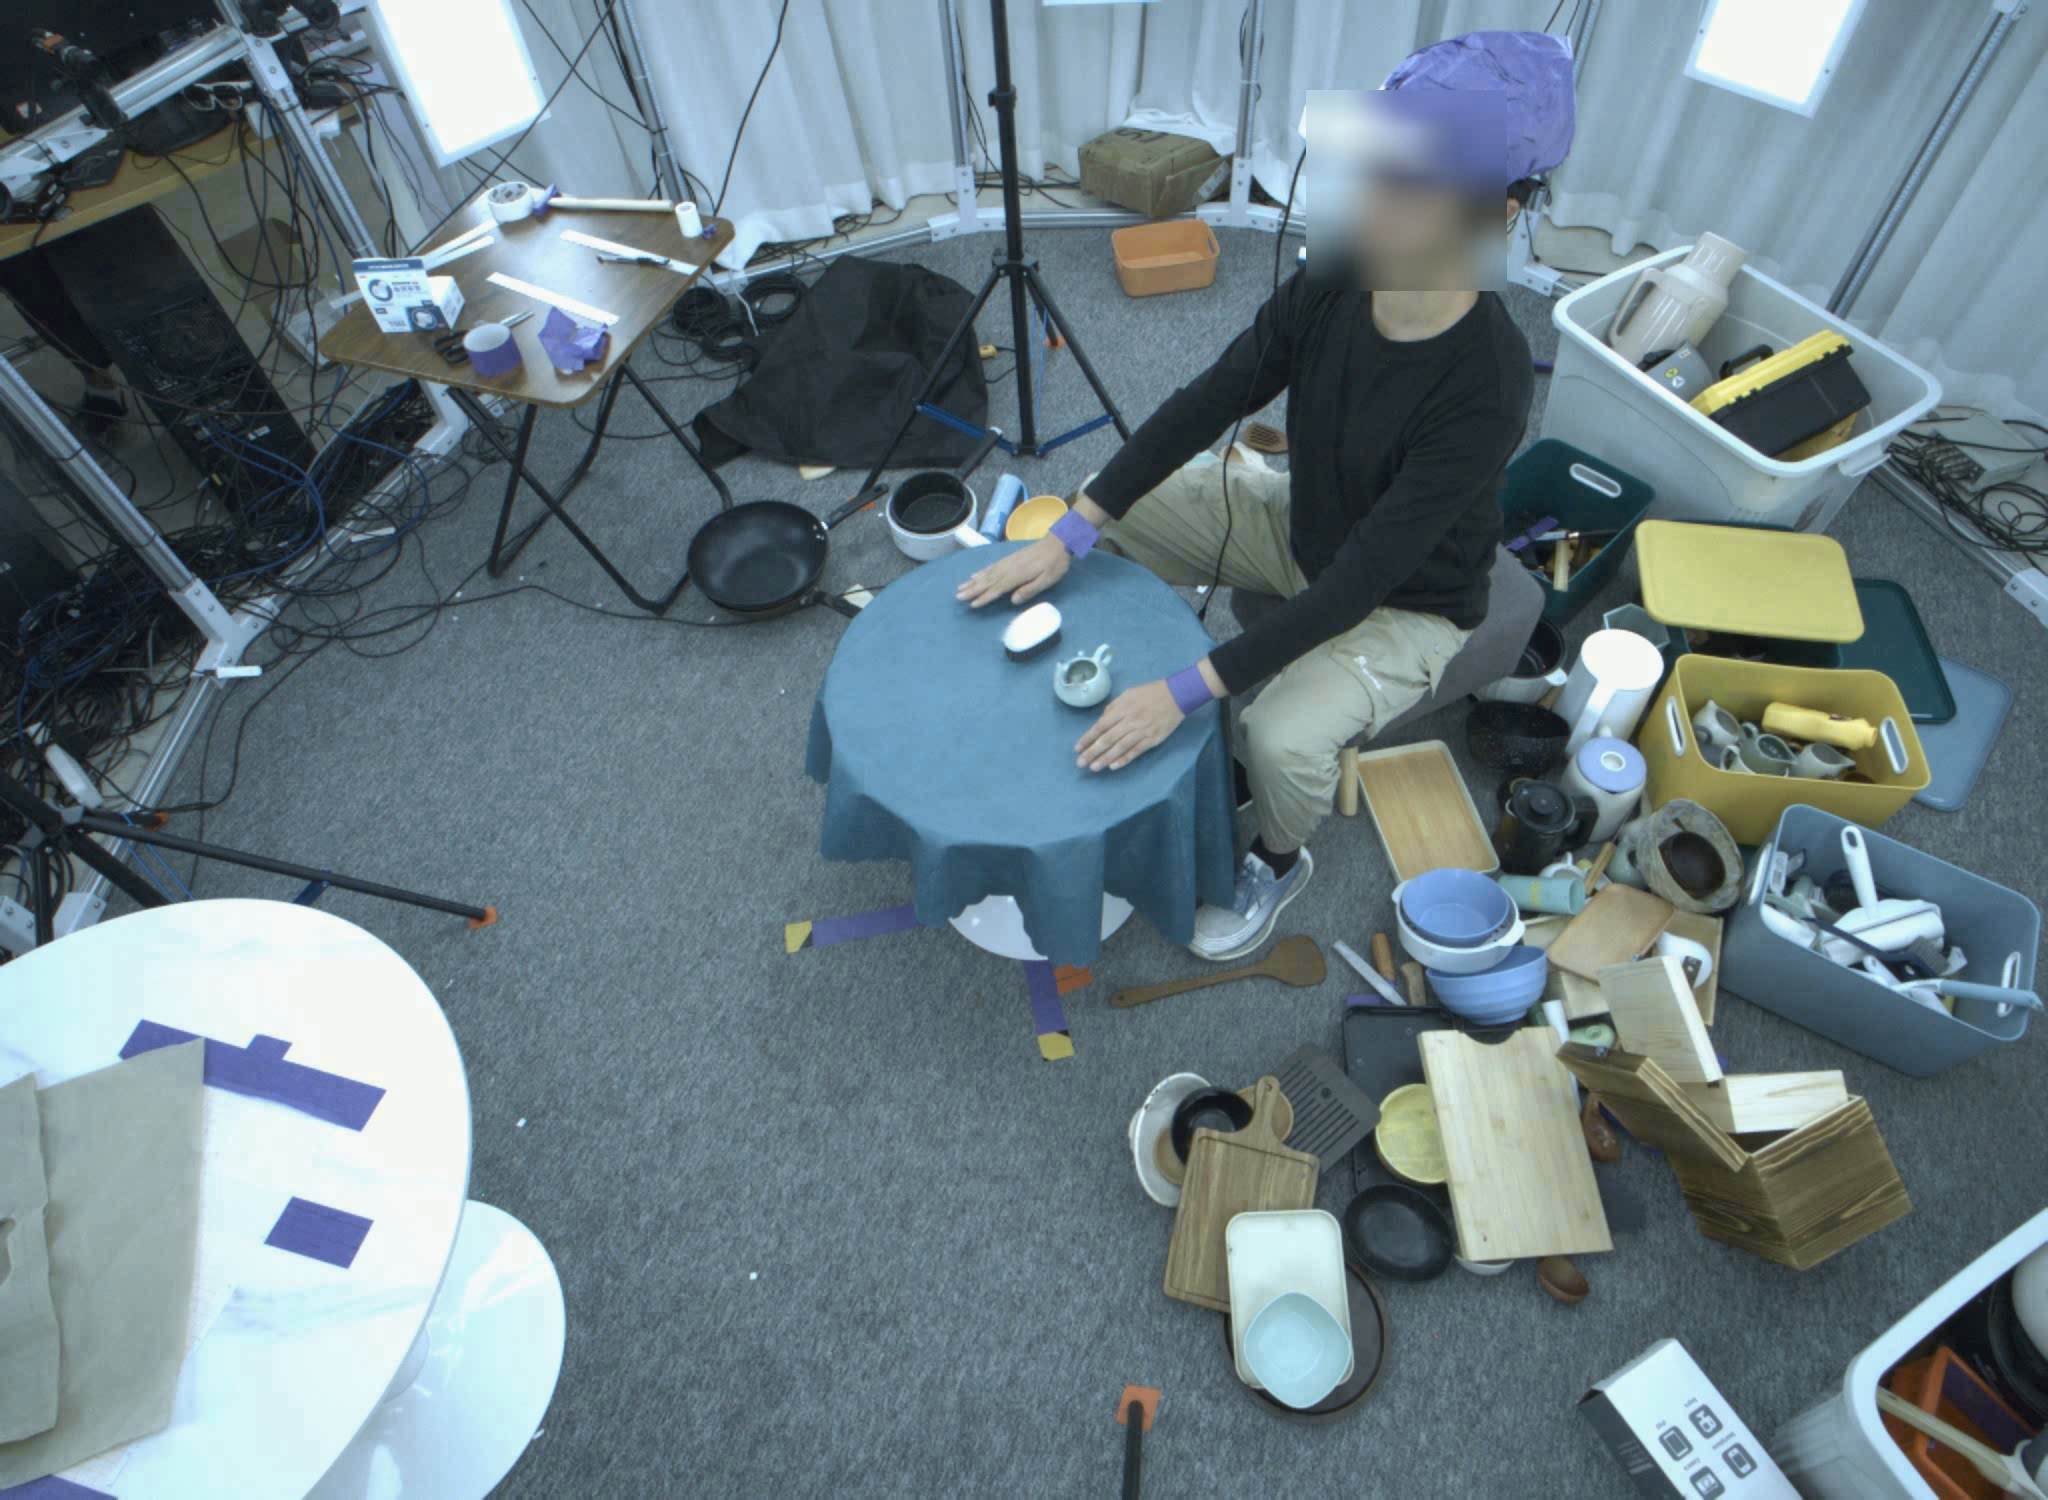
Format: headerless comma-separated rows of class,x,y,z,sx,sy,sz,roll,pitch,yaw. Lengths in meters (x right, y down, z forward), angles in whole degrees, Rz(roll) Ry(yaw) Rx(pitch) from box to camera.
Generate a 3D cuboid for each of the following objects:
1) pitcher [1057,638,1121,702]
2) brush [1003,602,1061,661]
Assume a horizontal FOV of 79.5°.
pitcher,0.102,-0.121,1.832,0.108,0.061,0.084,-40,49,-4
brush,0.011,-0.189,1.877,0.100,0.073,0.049,-32,60,-17
